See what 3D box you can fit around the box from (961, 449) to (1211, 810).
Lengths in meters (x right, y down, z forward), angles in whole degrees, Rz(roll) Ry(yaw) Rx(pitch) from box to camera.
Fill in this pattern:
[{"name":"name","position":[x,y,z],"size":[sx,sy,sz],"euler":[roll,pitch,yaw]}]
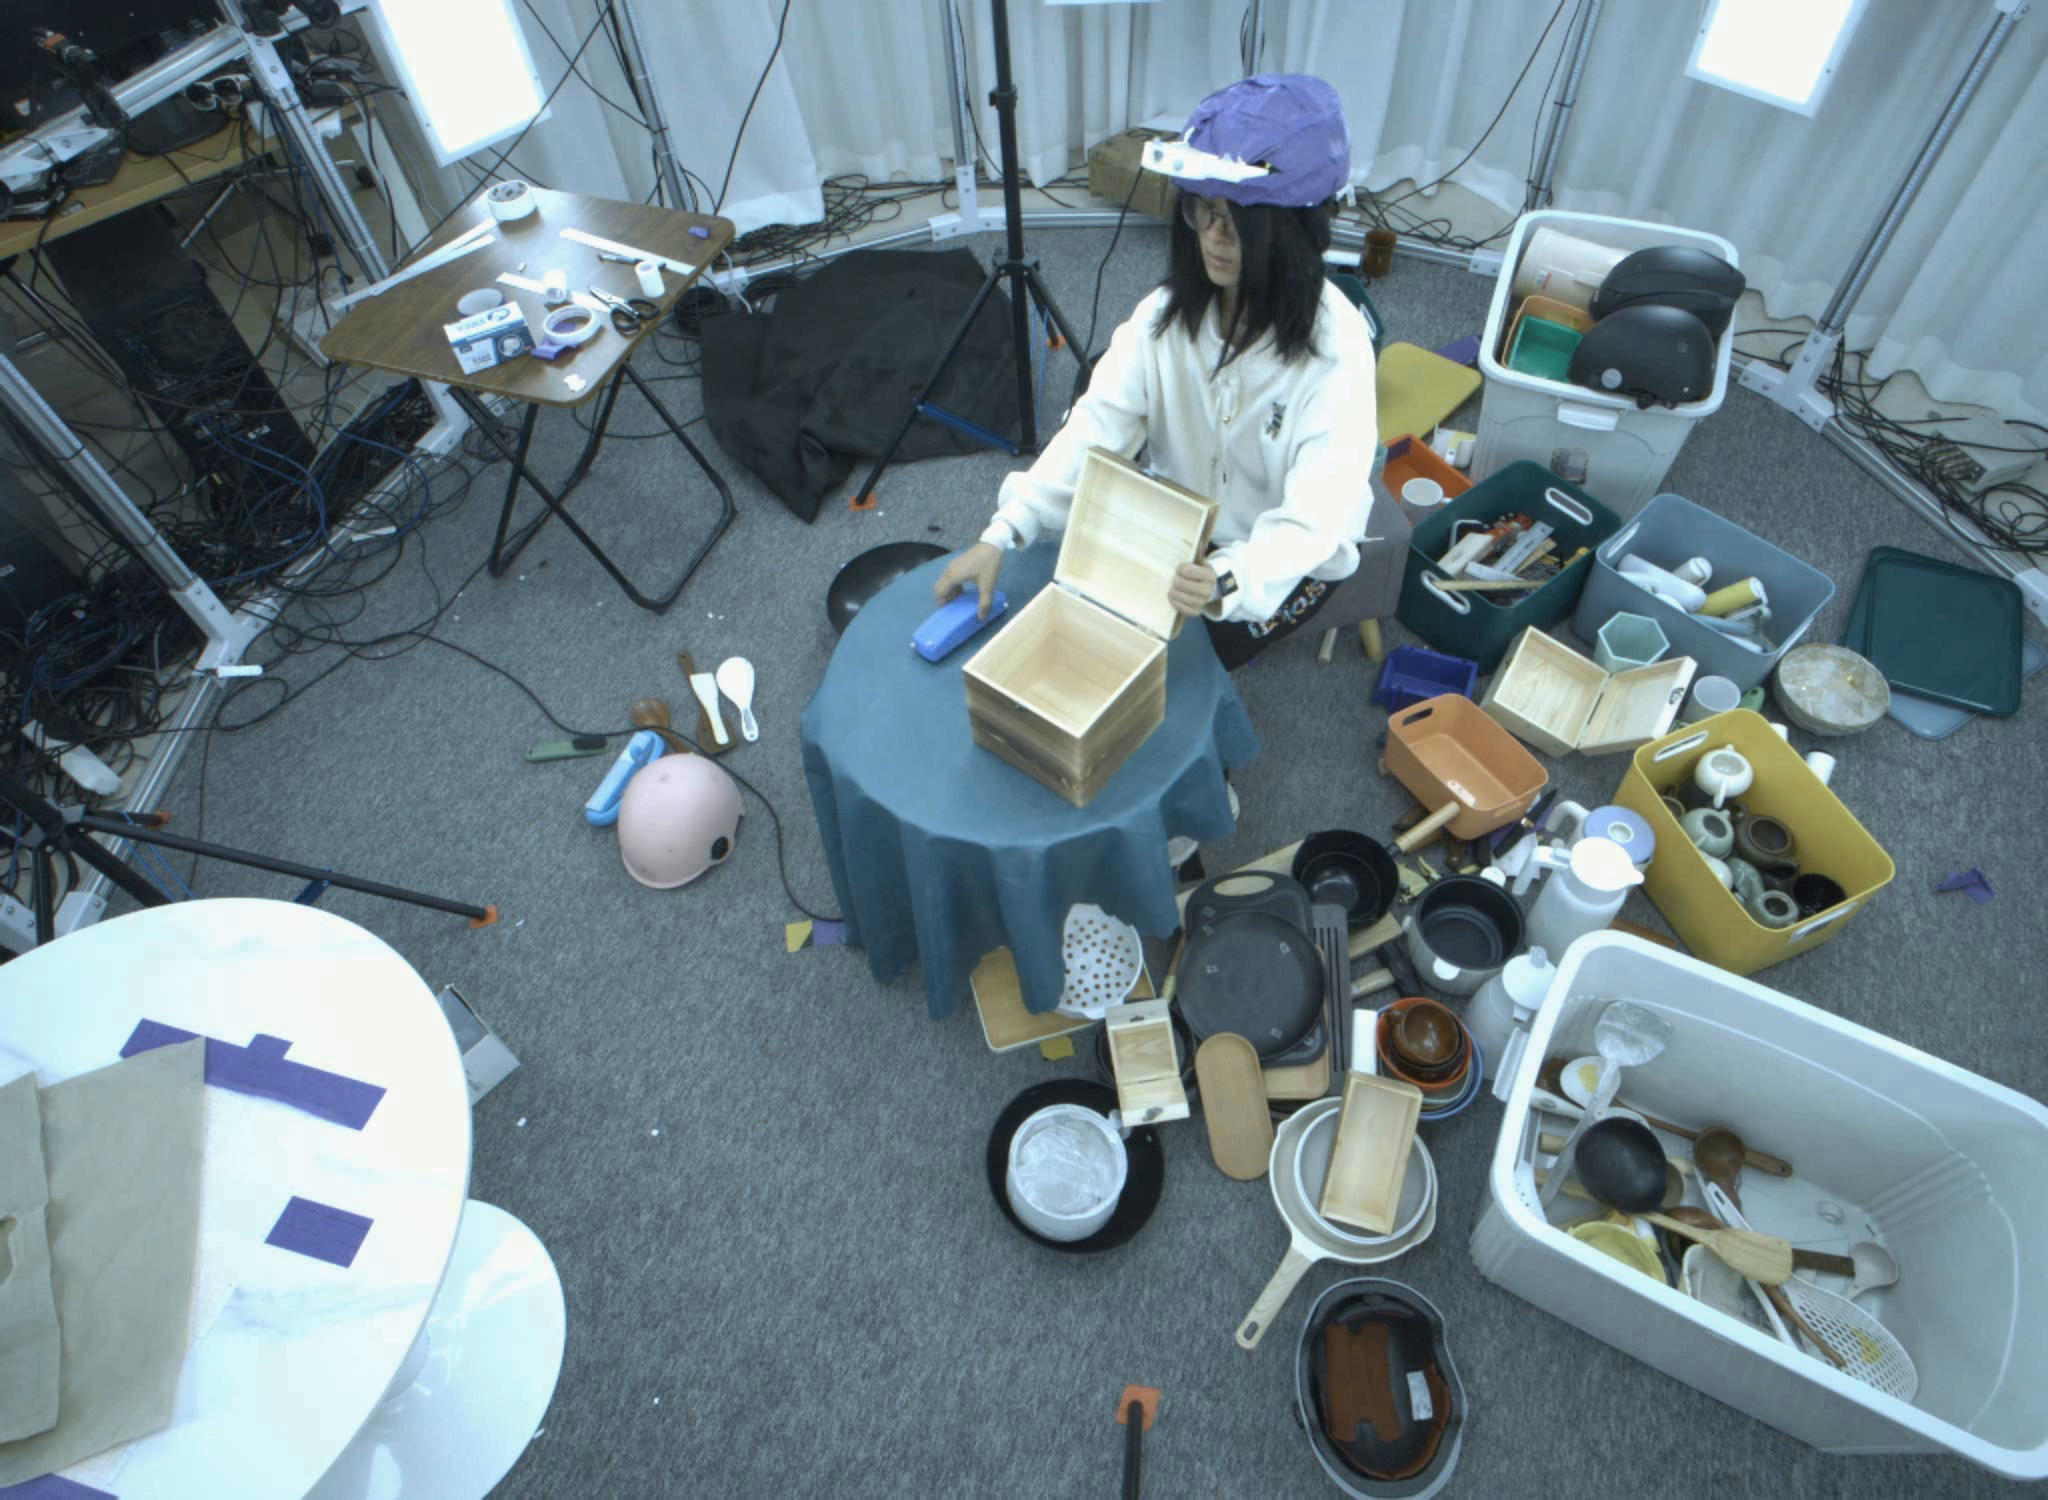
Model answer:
[{"name":"box","position":[0.085,-0.168,1.684],"size":[0.205,0.379,0.324],"euler":[31,60,24]}]

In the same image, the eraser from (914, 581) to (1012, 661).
[{"name":"eraser","position":[-0.096,-0.205,1.896],"size":[0.163,0.048,0.052],"euler":[-39,50,-19]}]
